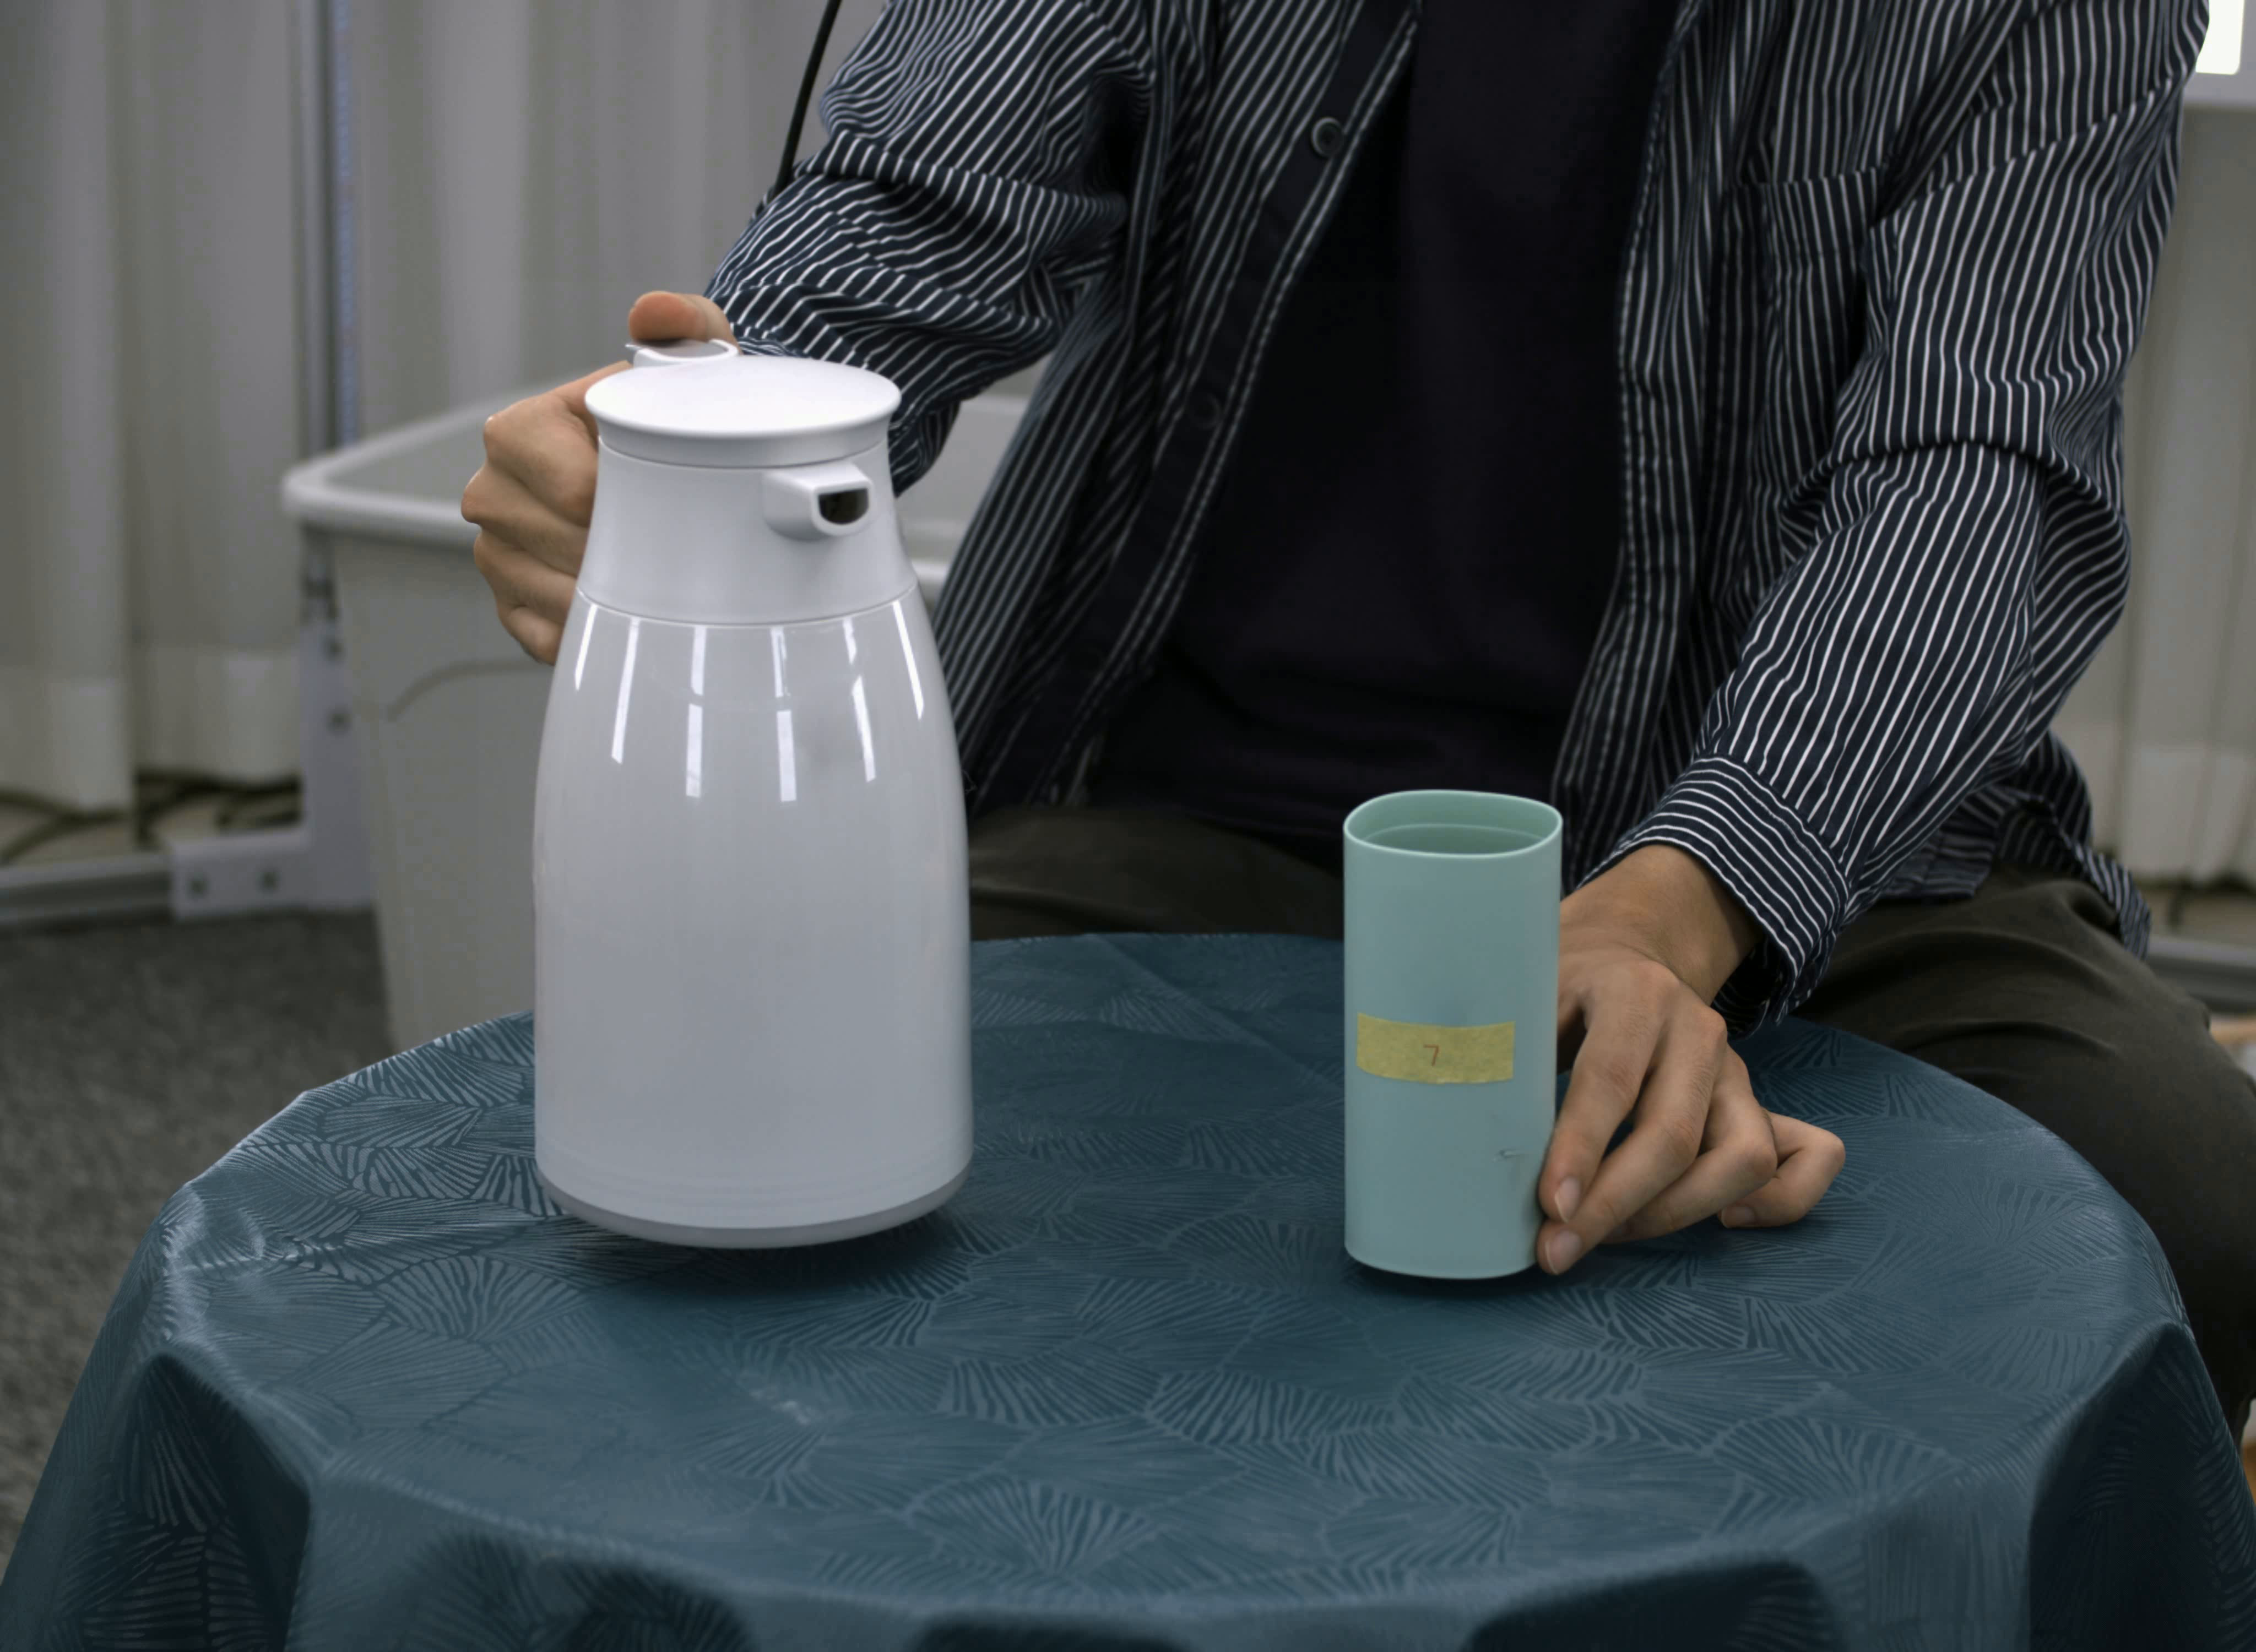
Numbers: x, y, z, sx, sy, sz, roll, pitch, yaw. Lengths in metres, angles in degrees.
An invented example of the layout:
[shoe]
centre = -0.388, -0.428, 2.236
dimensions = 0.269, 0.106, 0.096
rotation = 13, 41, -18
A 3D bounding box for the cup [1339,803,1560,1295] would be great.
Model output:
[cup]
centre = 0.095, 0.064, 1.545
dimensions = 0.066, 0.133, 0.066
rotation = -1, 18, 1

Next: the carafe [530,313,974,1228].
[carafe]
centre = -0.124, -0.025, 1.563
dimensions = 0.133, 0.251, 0.165
rotation = -13, 22, -33
